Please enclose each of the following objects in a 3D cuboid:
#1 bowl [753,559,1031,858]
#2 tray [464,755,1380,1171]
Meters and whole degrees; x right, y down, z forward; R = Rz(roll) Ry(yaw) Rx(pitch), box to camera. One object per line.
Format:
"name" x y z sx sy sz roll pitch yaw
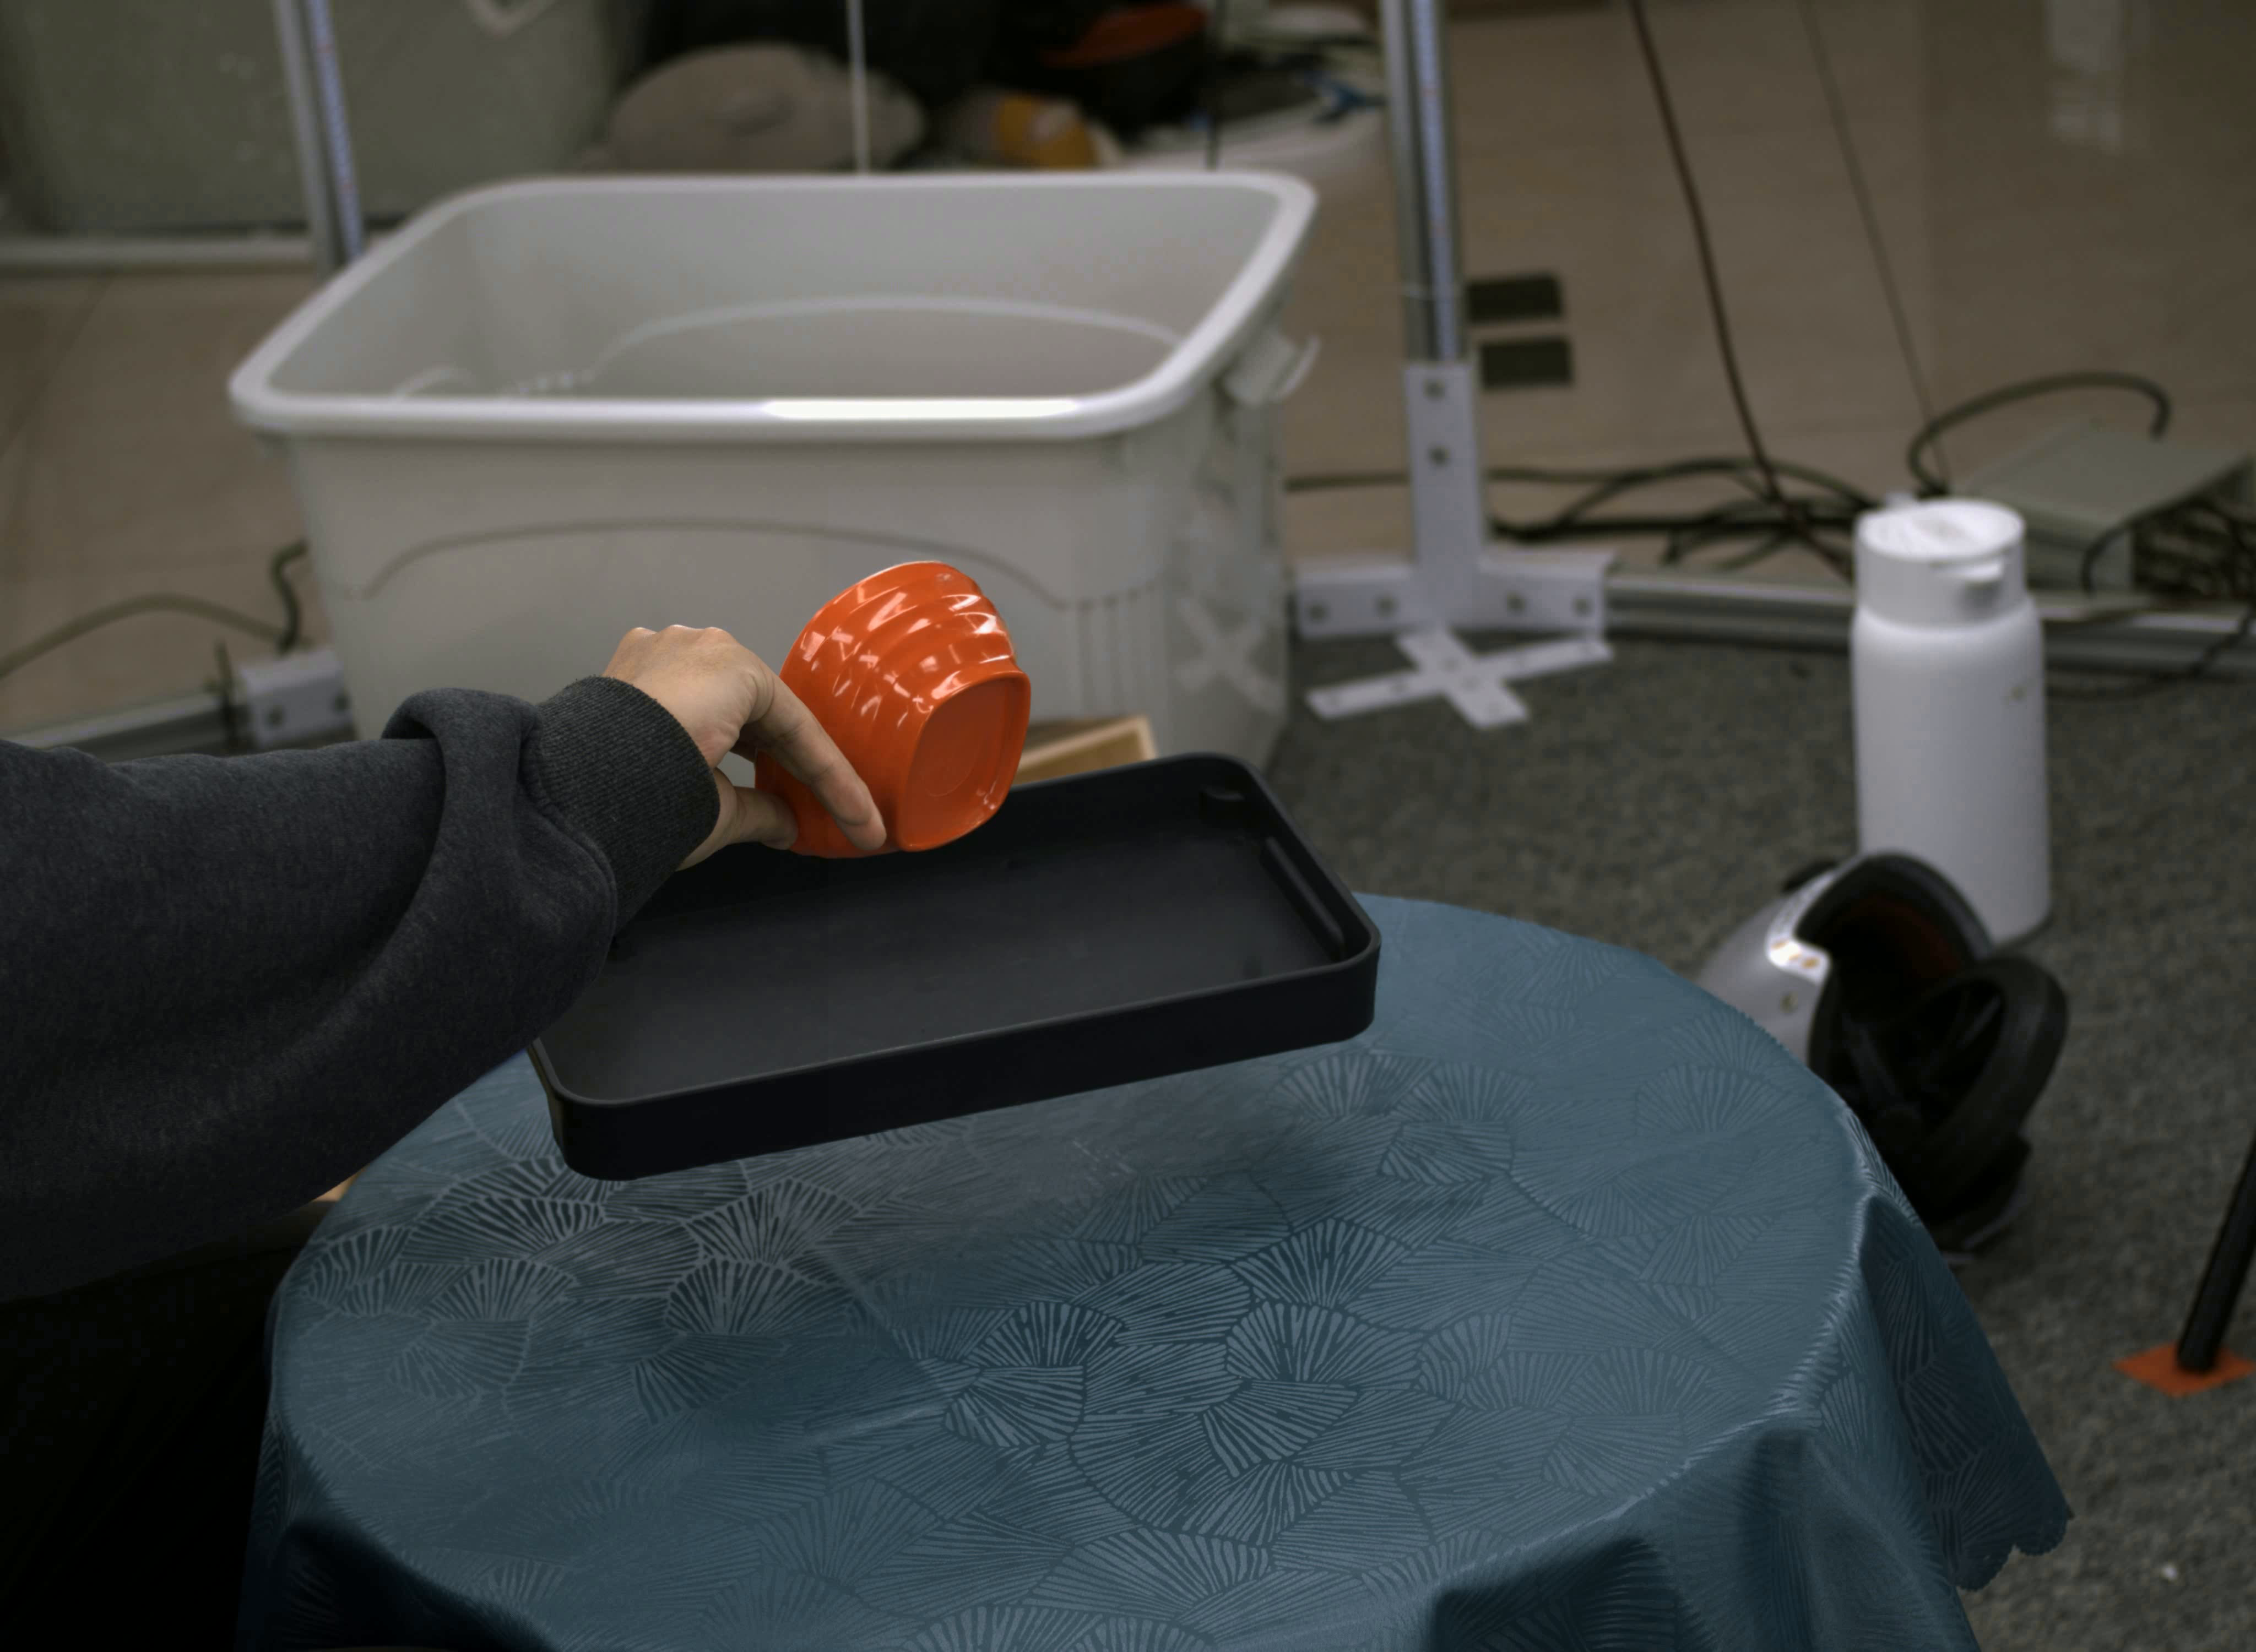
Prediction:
"bowl" -0.077 -0.033 1.999 0.051 0.121 0.118 31 41 28
"tray" -0.079 0.048 2.137 0.317 0.037 0.181 -9 30 -16
